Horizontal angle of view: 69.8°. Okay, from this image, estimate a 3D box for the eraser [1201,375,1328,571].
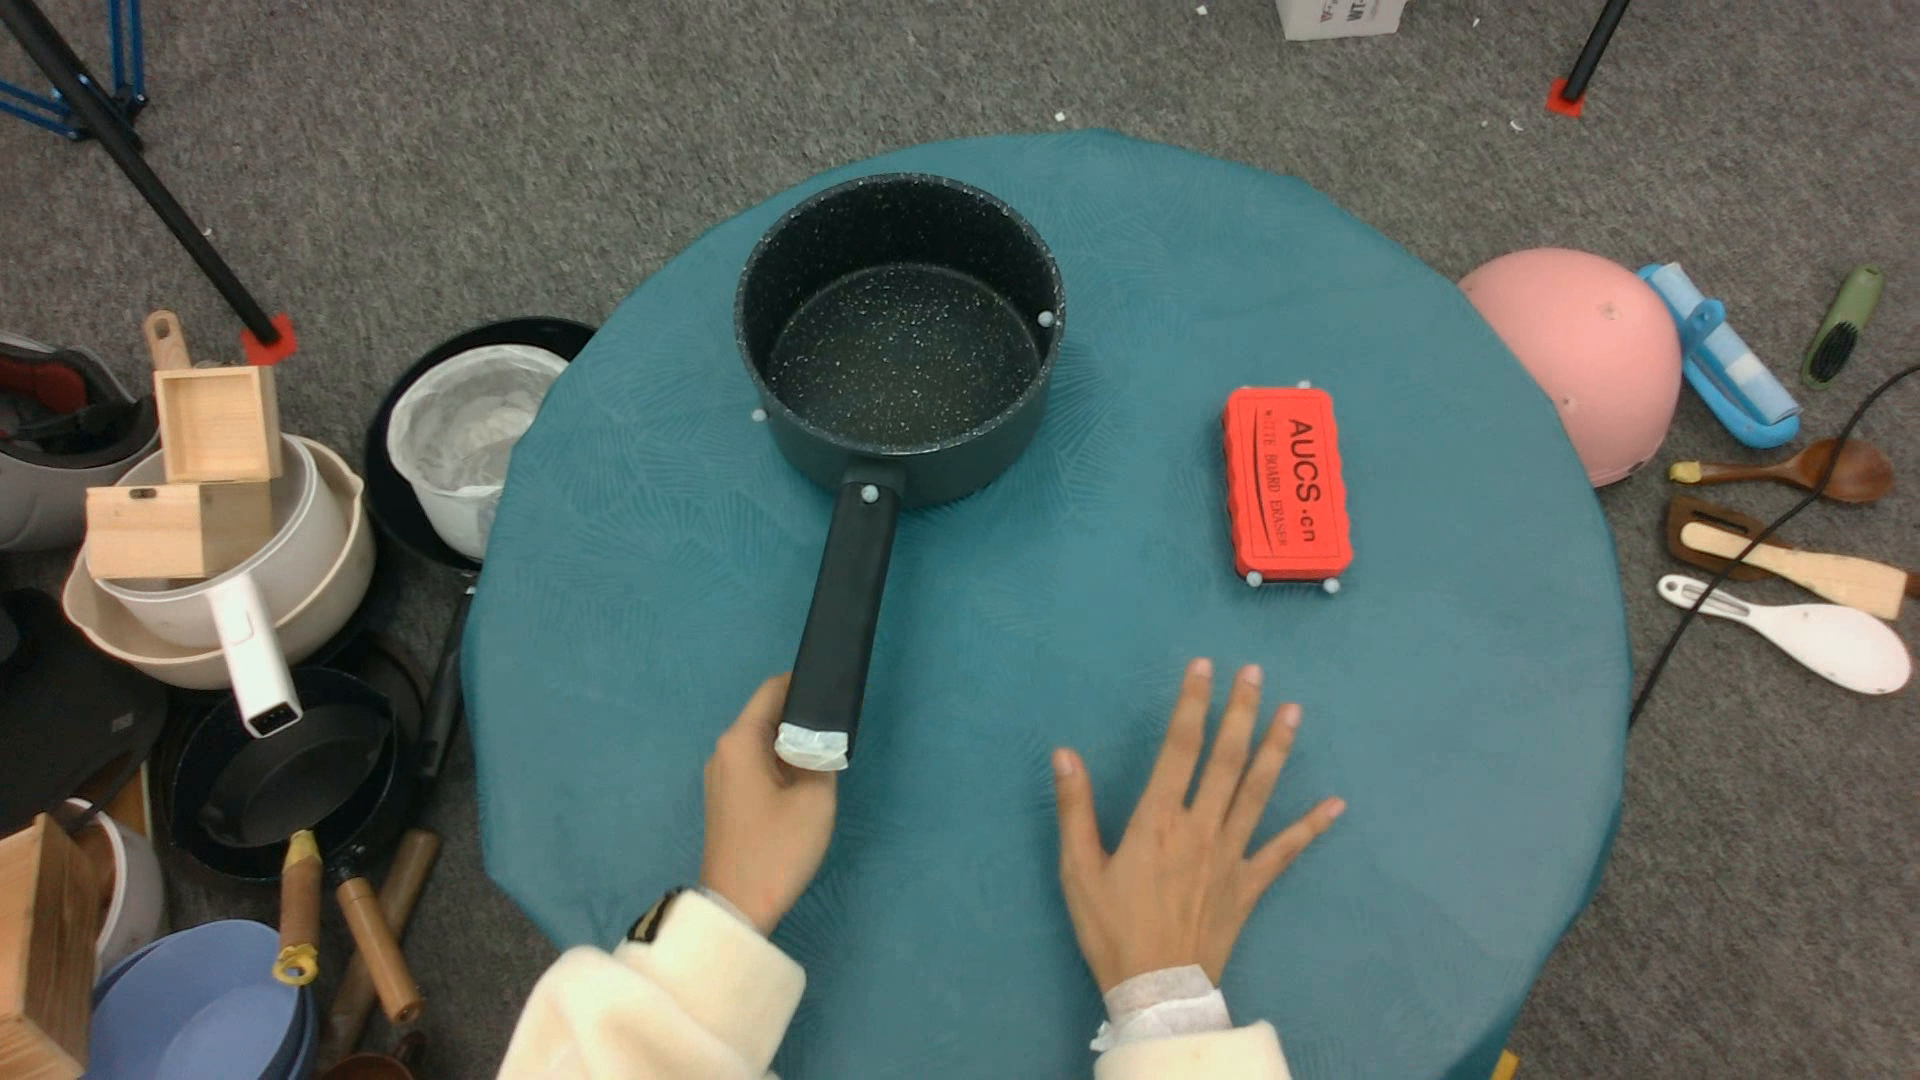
[{"bbox_3d":[0.162,-0.037,0.737,0.059,0.023,0.108,1,65,-1],"label":"eraser"}]

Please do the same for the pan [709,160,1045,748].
[{"bbox_3d":[-0.056,-0.043,0.702,0.172,0.086,0.330,9,63,4],"label":"pan"}]
